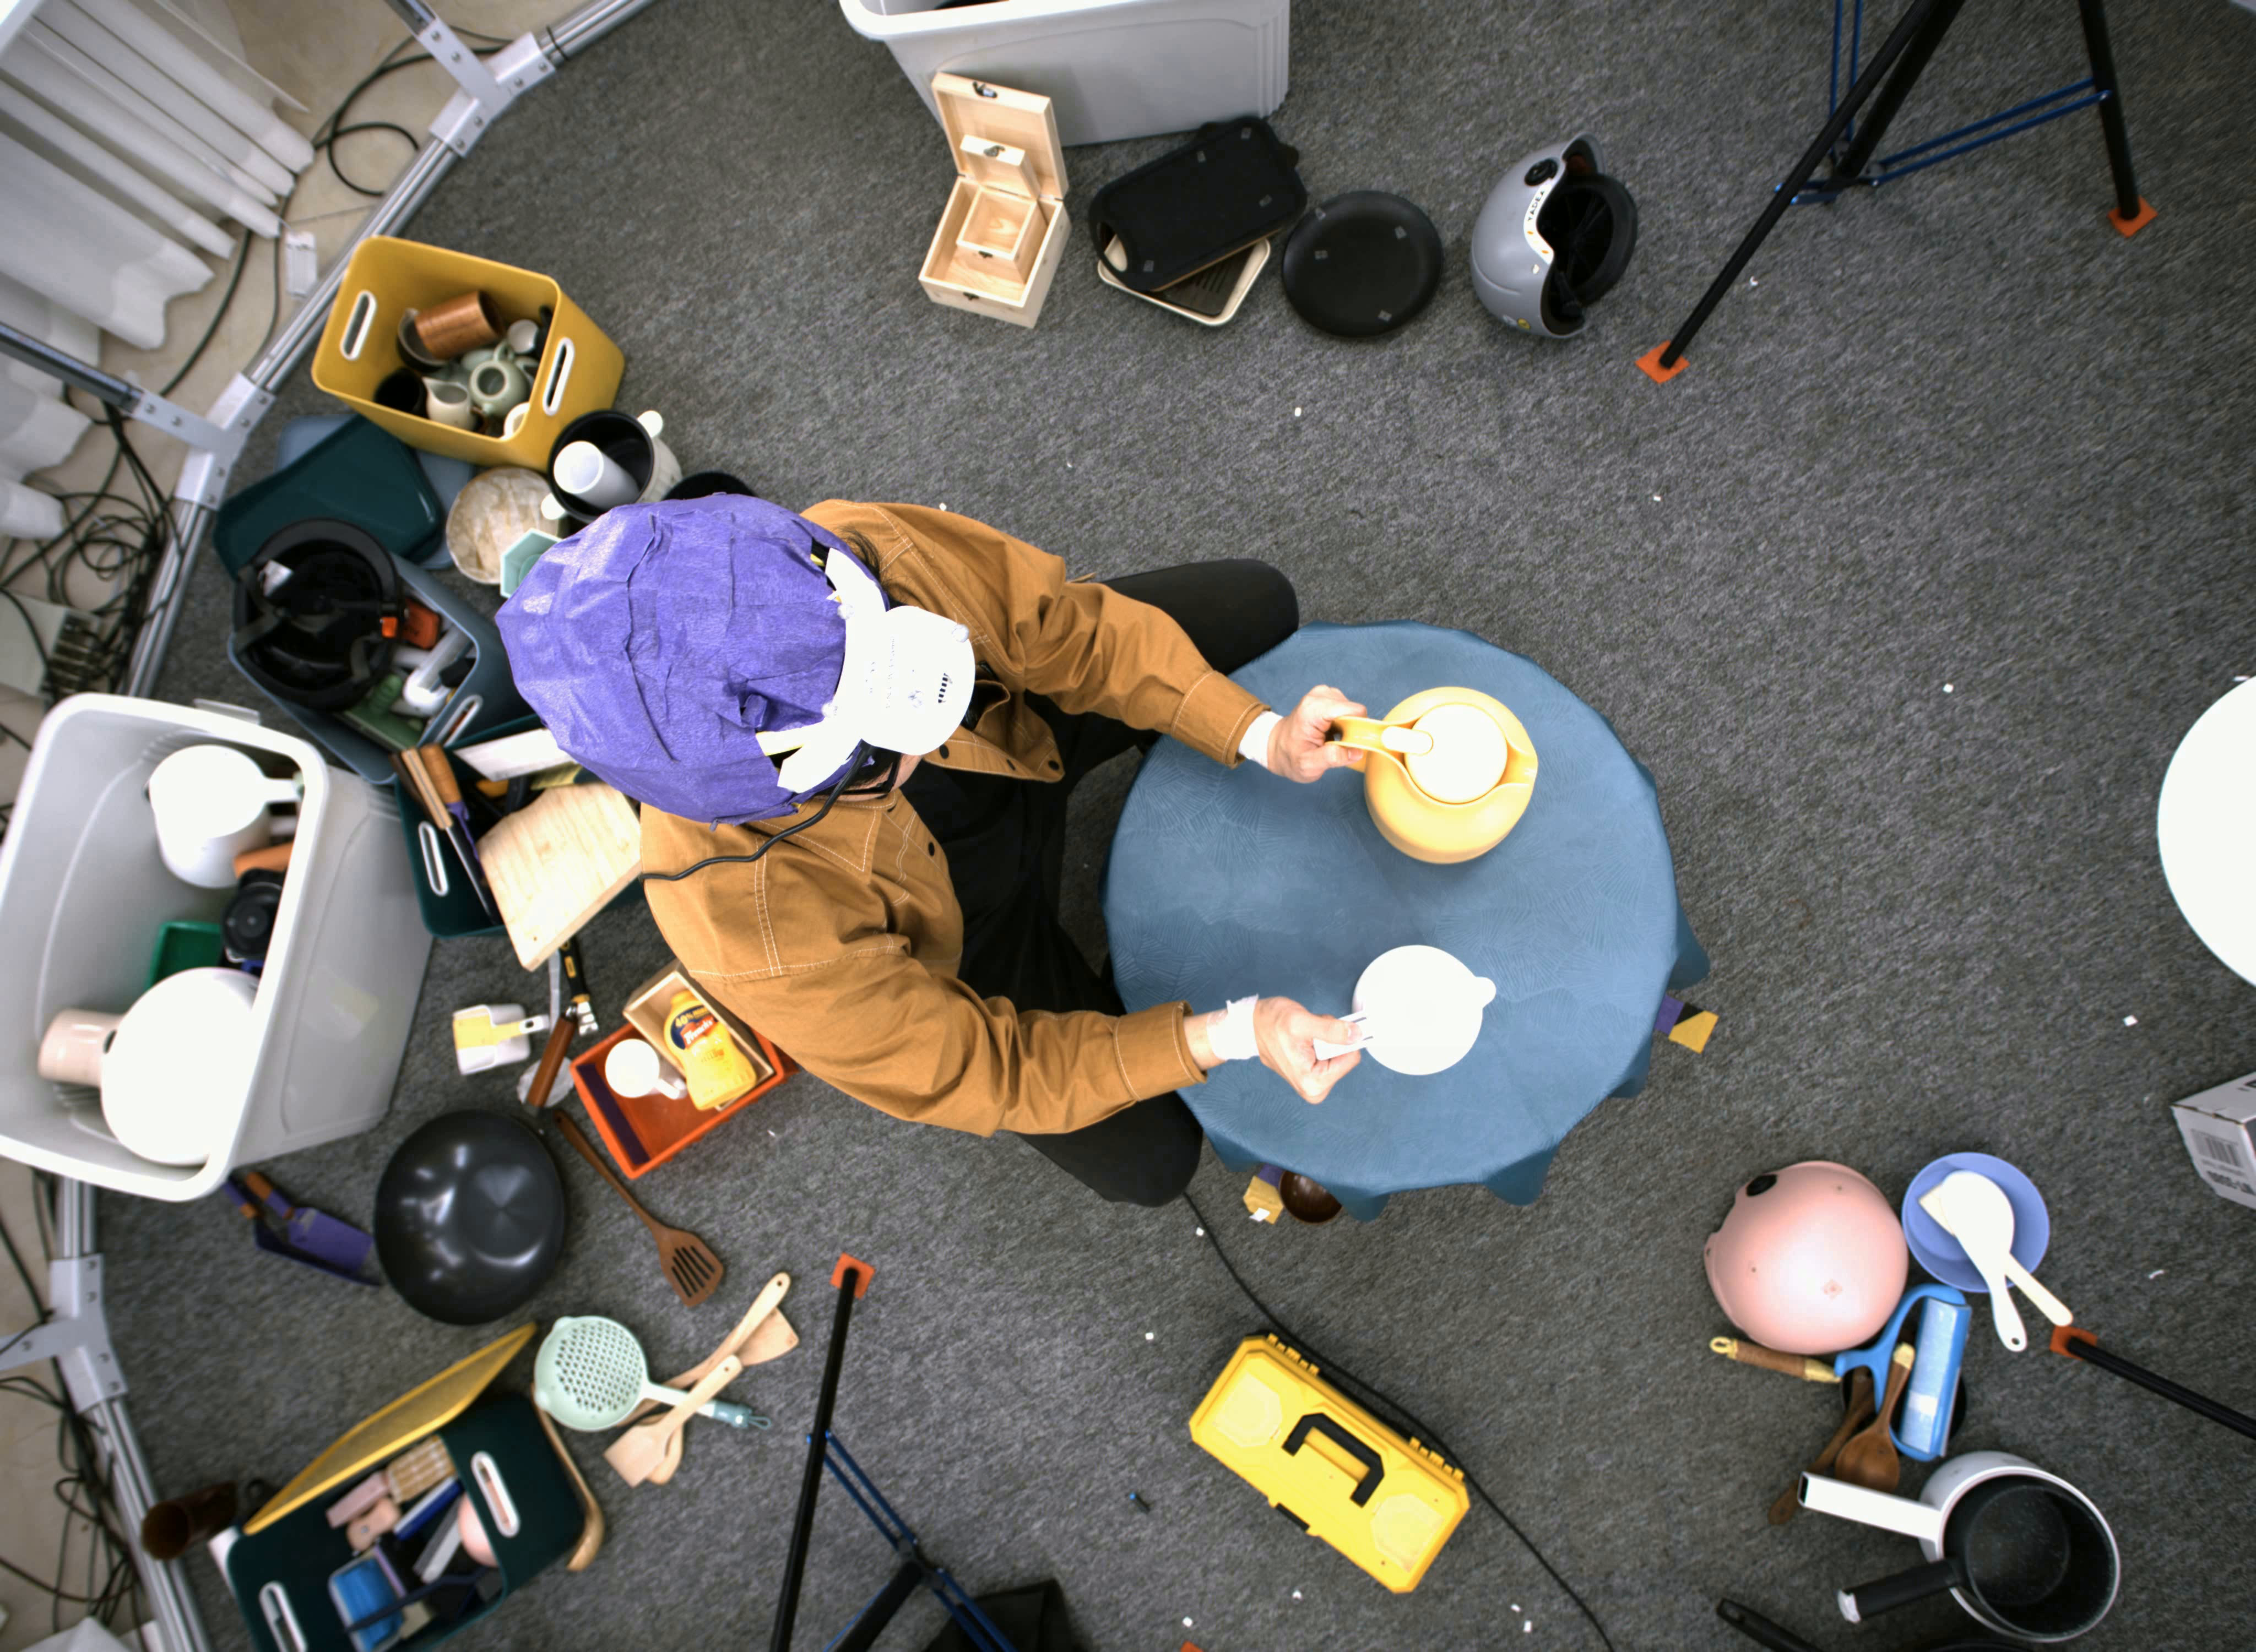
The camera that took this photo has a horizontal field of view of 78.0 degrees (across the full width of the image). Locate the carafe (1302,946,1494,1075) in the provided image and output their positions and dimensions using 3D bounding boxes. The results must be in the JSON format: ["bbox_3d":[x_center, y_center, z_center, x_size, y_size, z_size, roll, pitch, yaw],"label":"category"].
[{"bbox_3d":[0.256,0.180,1.322,0.174,0.269,0.123,-19,84,8],"label":"carafe"}]

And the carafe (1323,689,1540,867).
[{"bbox_3d":[0.290,-0.058,1.330,0.202,0.261,0.163,17,85,10],"label":"carafe"}]
